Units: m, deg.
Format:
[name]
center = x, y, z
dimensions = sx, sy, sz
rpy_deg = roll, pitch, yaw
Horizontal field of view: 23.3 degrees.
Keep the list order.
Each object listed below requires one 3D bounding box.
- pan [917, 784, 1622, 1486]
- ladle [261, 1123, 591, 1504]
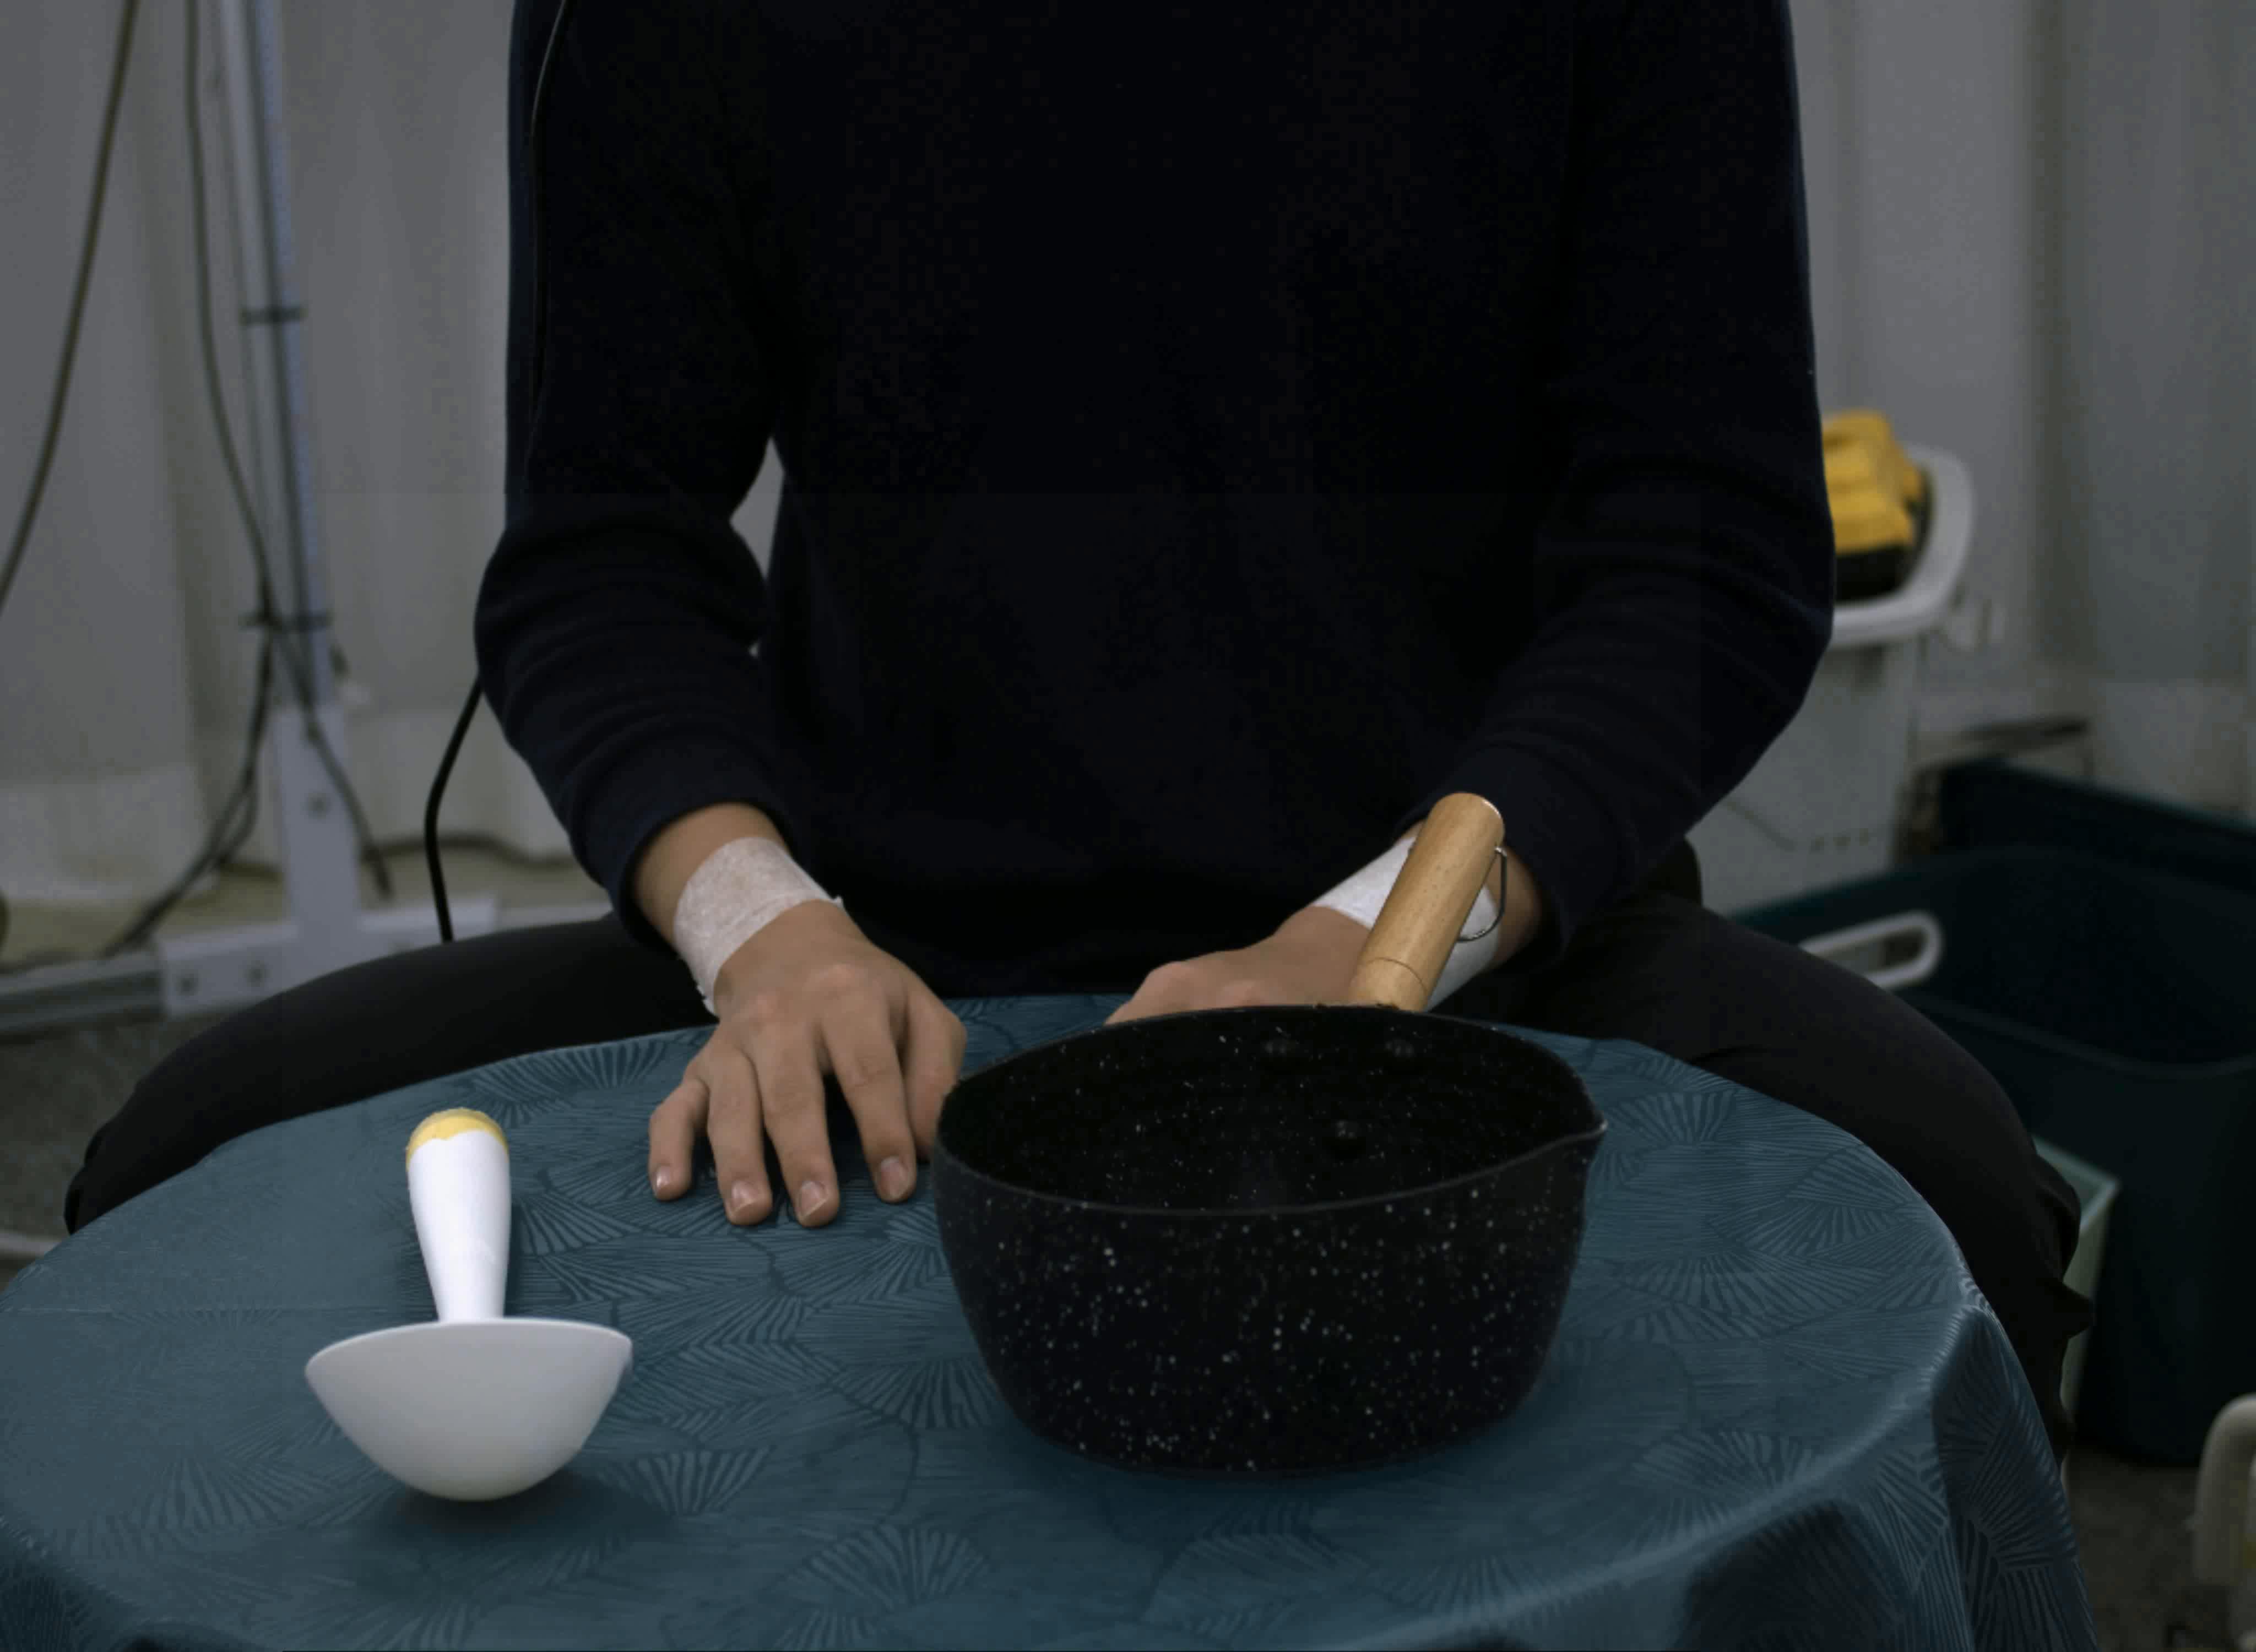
[pan]
center = 0.060, 0.085, 1.606
dimensions = 0.207, 0.108, 0.344
rpy_deg = 0, 17, 17
[ladle]
center = -0.200, 0.126, 1.587
dimensions = 0.090, 0.069, 0.295
rpy_deg = -11, 15, -4
